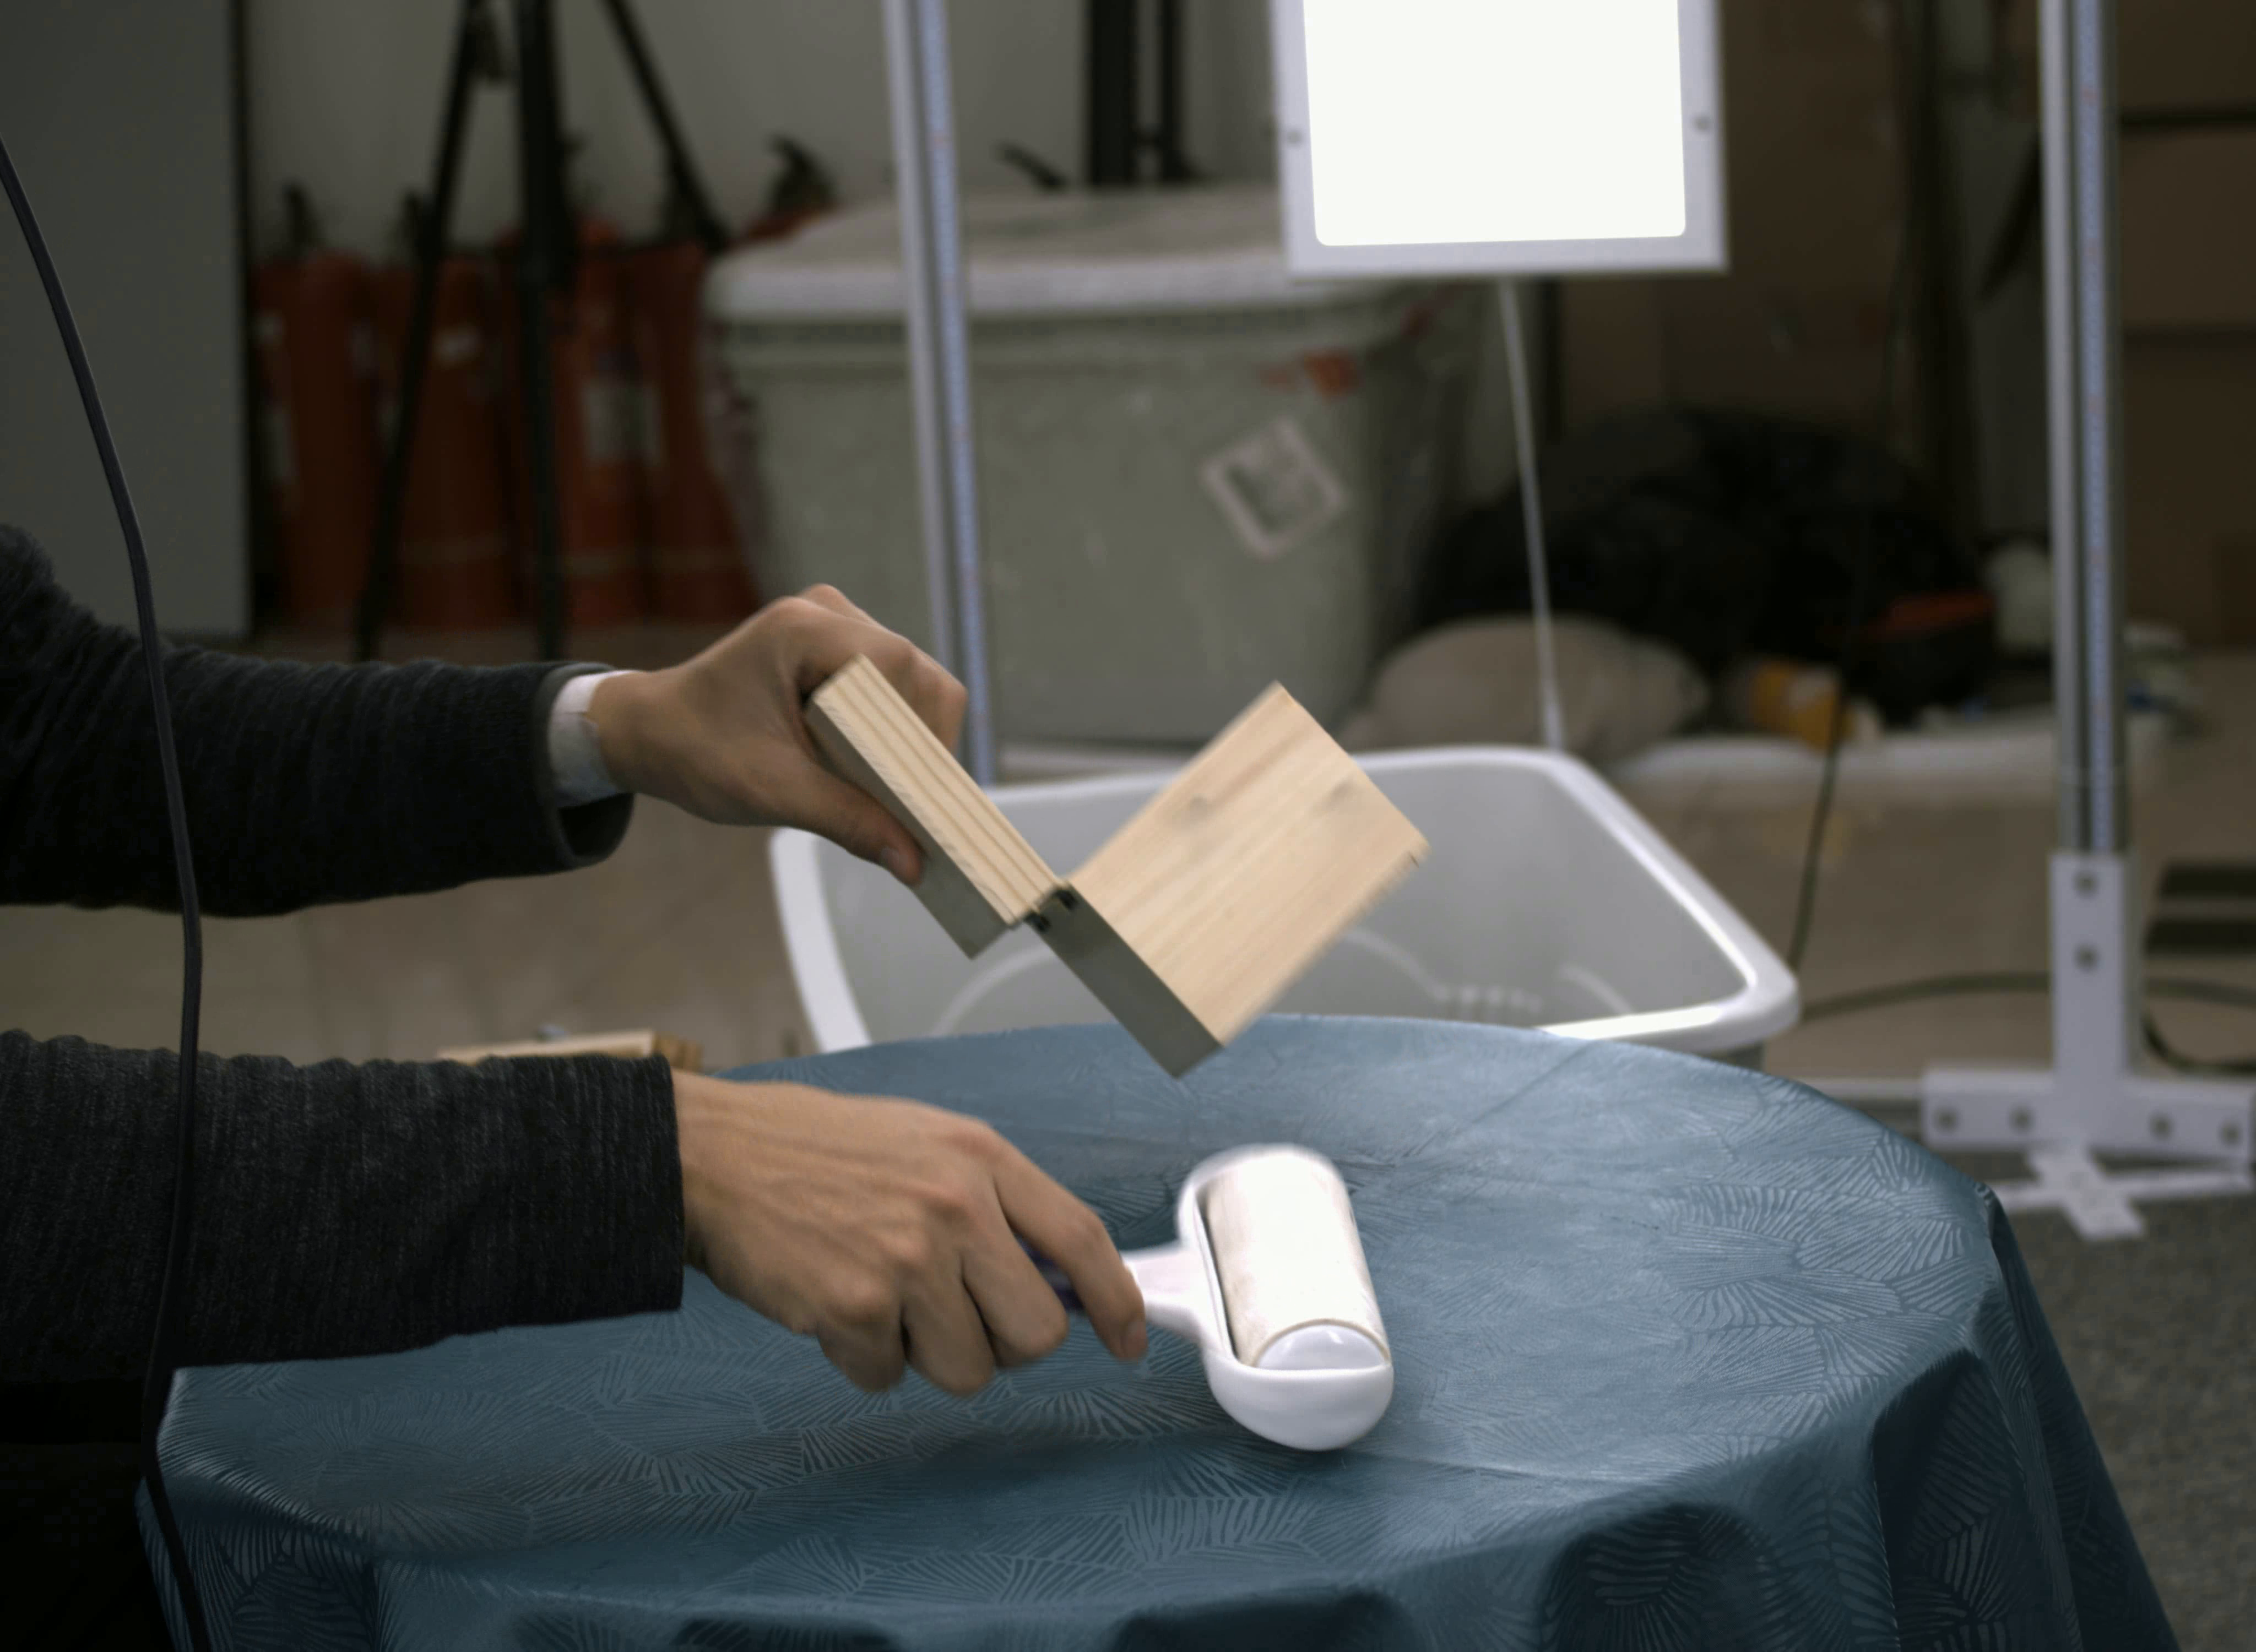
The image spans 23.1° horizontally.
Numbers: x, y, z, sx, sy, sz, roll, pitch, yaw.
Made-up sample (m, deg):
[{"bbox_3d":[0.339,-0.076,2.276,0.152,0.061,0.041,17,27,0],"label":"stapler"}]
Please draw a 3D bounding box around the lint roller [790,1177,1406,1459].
[{"bbox_3d":[-0.010,0.137,1.660,0.179,0.050,0.133,11,21,-8],"label":"lint roller"}]

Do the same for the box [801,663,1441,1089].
[{"bbox_3d":[-0.004,-0.008,1.893,0.133,0.184,0.103,-42,-1,-11],"label":"box"}]
